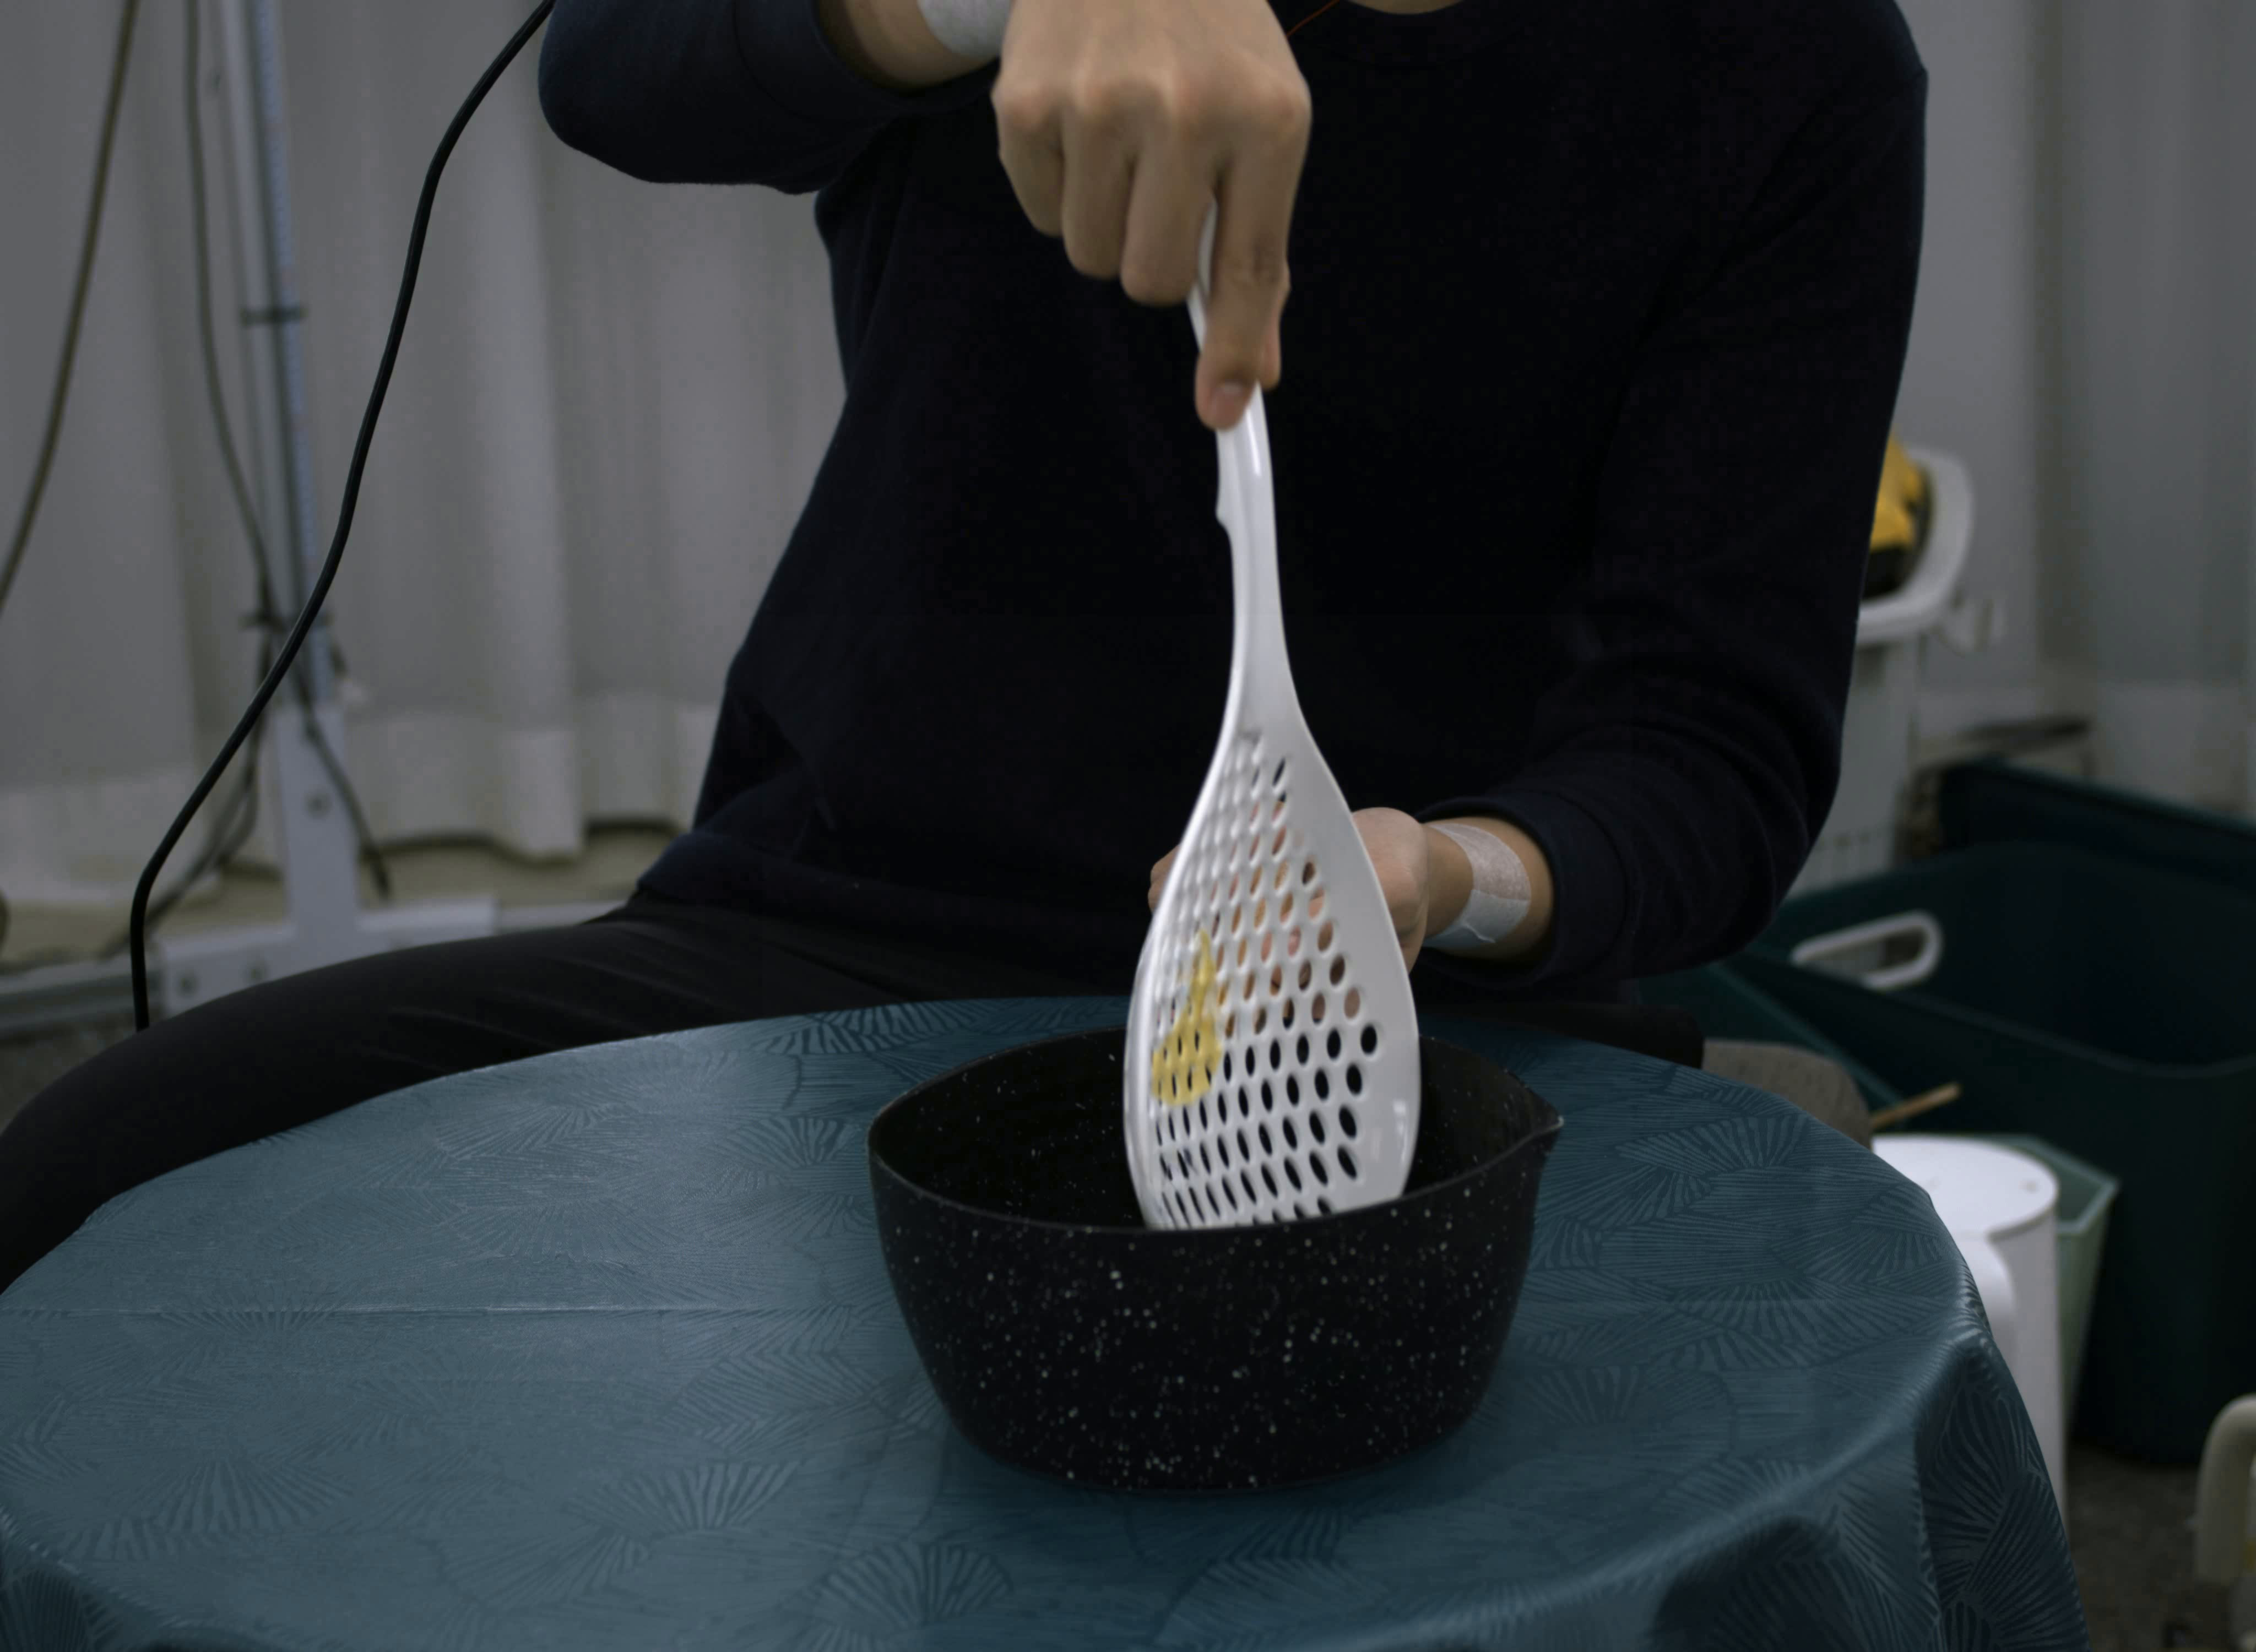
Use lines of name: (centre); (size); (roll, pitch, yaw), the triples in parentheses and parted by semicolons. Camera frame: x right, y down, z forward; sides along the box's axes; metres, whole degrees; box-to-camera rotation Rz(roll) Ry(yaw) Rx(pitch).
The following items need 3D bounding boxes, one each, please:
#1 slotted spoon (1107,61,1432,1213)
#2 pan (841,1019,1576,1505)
slotted spoon: (0.026, -0.036, 1.508); (0.050, 0.346, 0.137); (9, 18, 36)
pan: (0.029, 0.088, 1.599); (0.207, 0.108, 0.345); (-2, 16, 6)
